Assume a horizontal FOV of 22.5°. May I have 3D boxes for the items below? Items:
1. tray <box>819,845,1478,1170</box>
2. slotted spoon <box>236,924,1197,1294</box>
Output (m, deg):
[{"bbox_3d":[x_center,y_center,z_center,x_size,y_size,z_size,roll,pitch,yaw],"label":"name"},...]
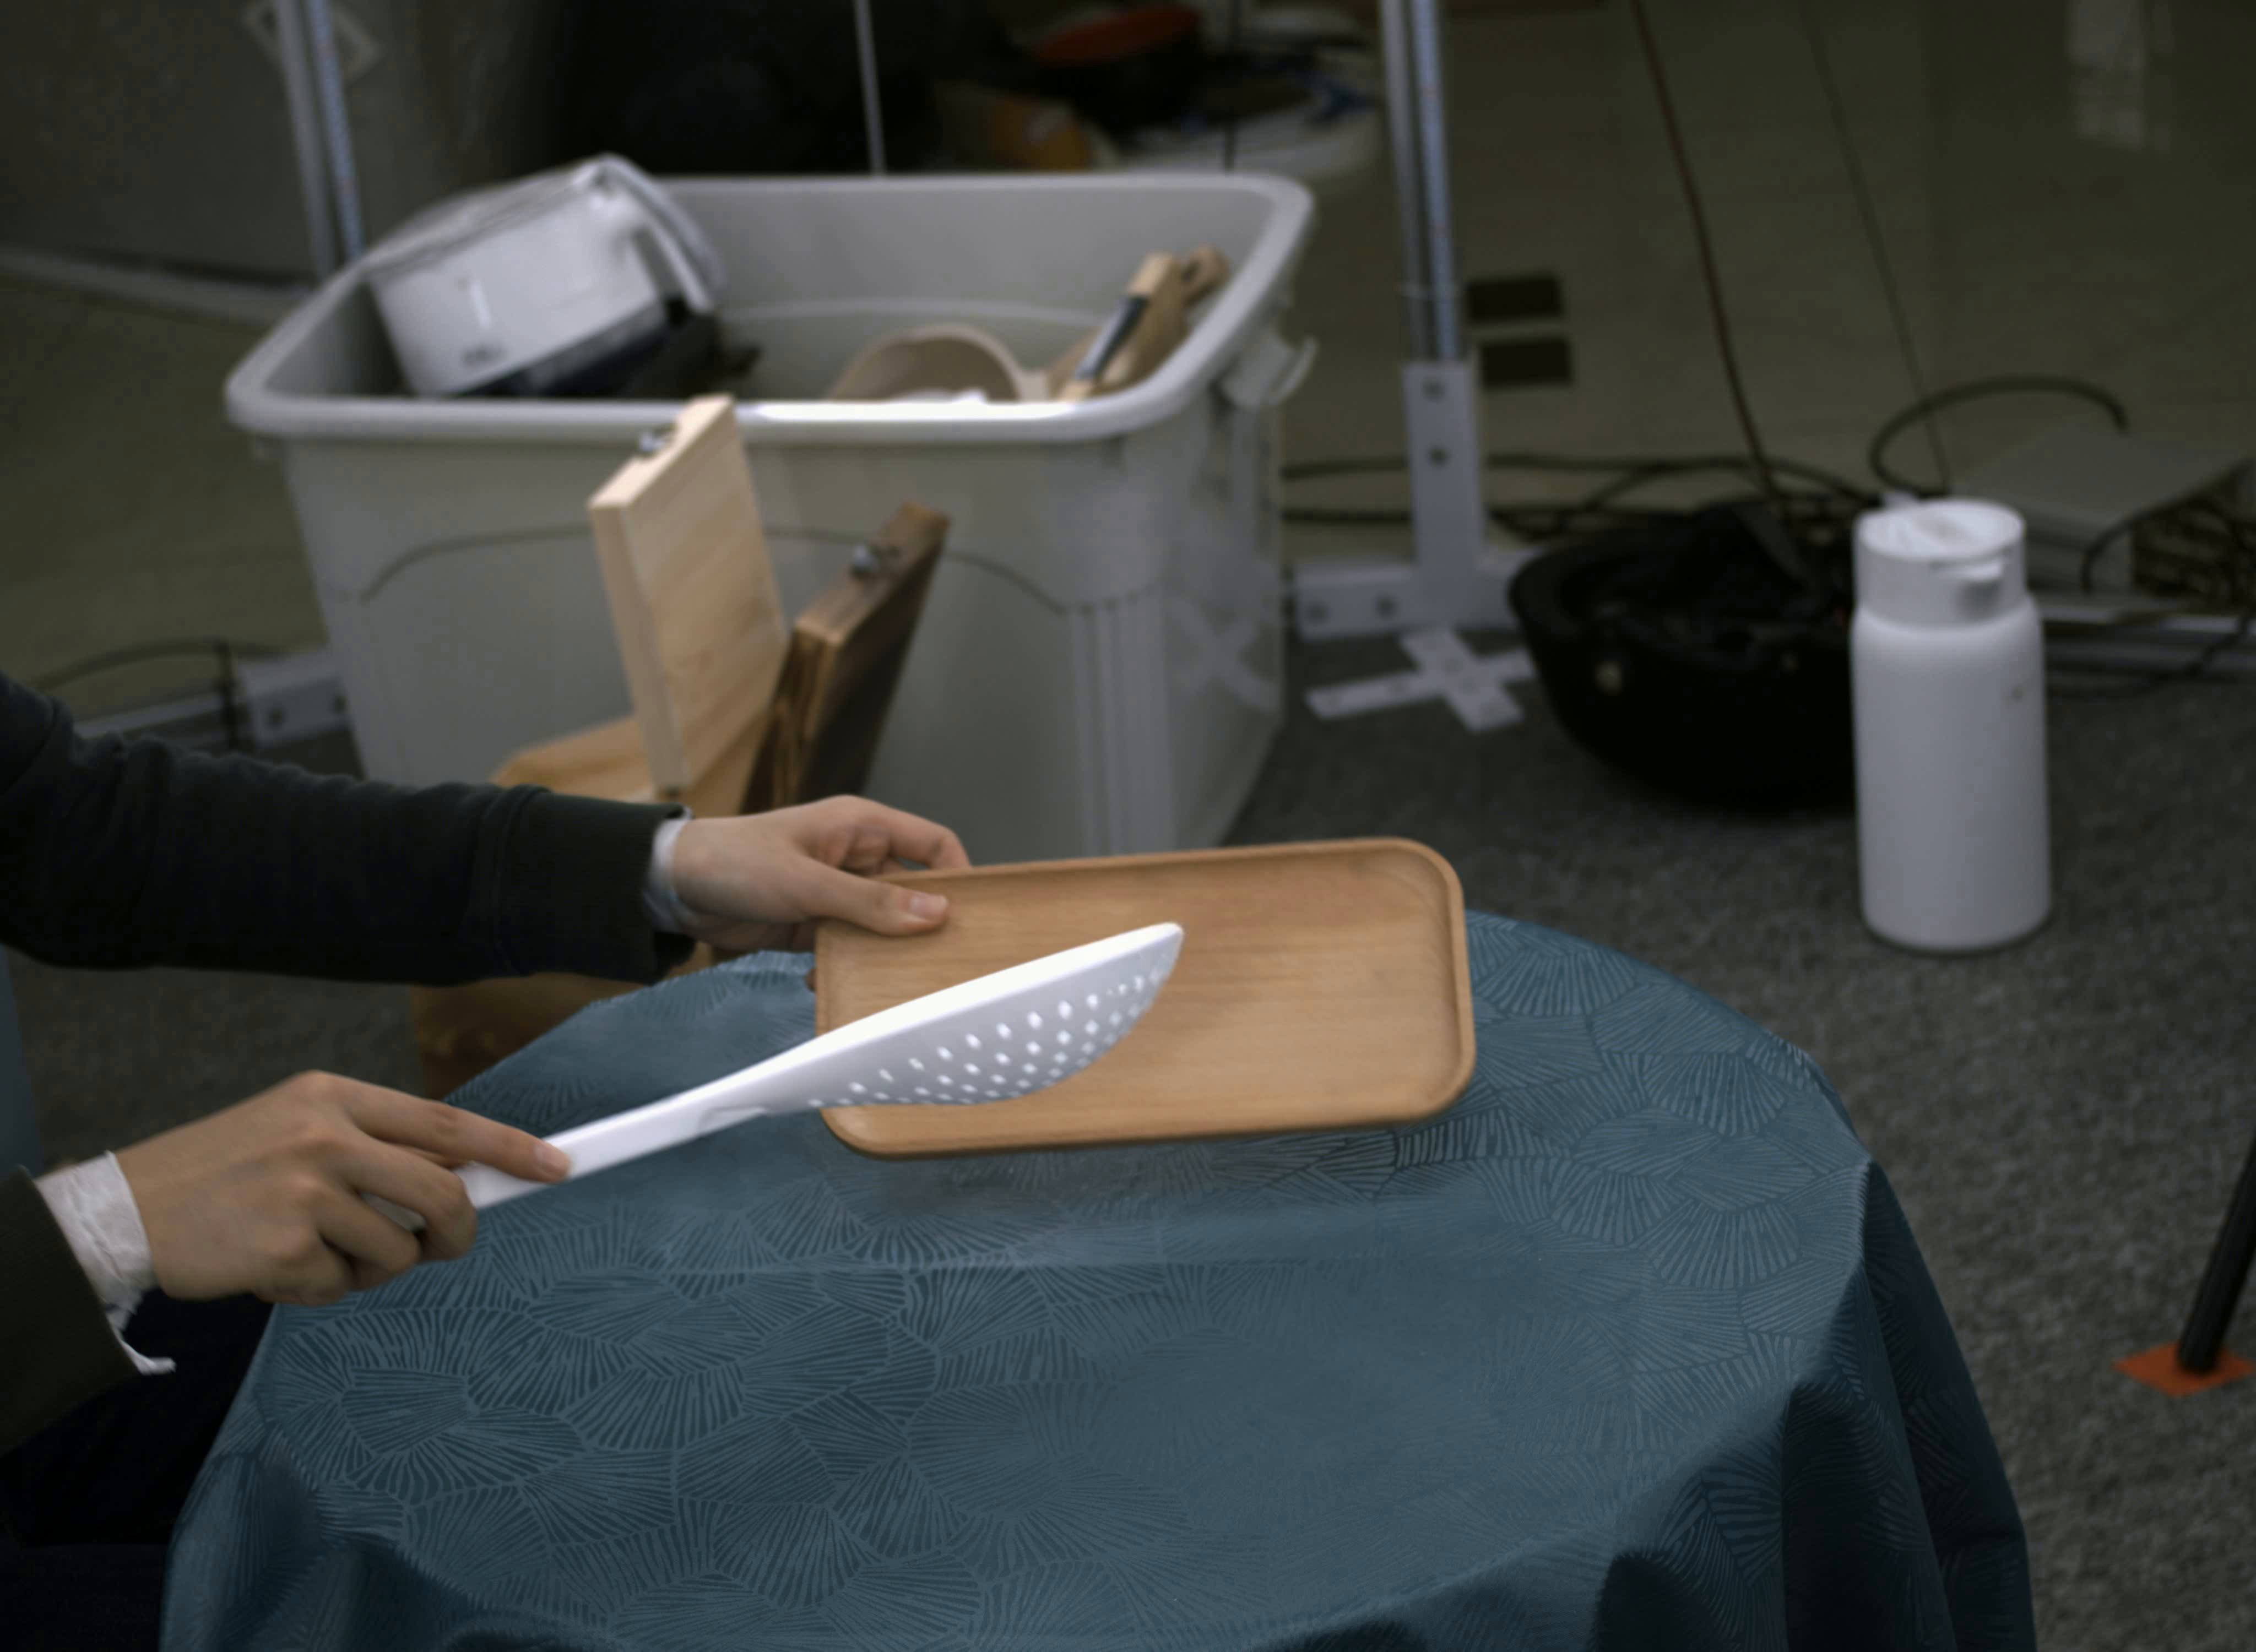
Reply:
[{"bbox_3d":[0.007,0.070,2.164,0.250,0.023,0.128,-3,56,3],"label":"tray"},{"bbox_3d":[-0.135,0.095,1.924,0.348,0.046,0.136,-14,1,-19],"label":"slotted spoon"}]
